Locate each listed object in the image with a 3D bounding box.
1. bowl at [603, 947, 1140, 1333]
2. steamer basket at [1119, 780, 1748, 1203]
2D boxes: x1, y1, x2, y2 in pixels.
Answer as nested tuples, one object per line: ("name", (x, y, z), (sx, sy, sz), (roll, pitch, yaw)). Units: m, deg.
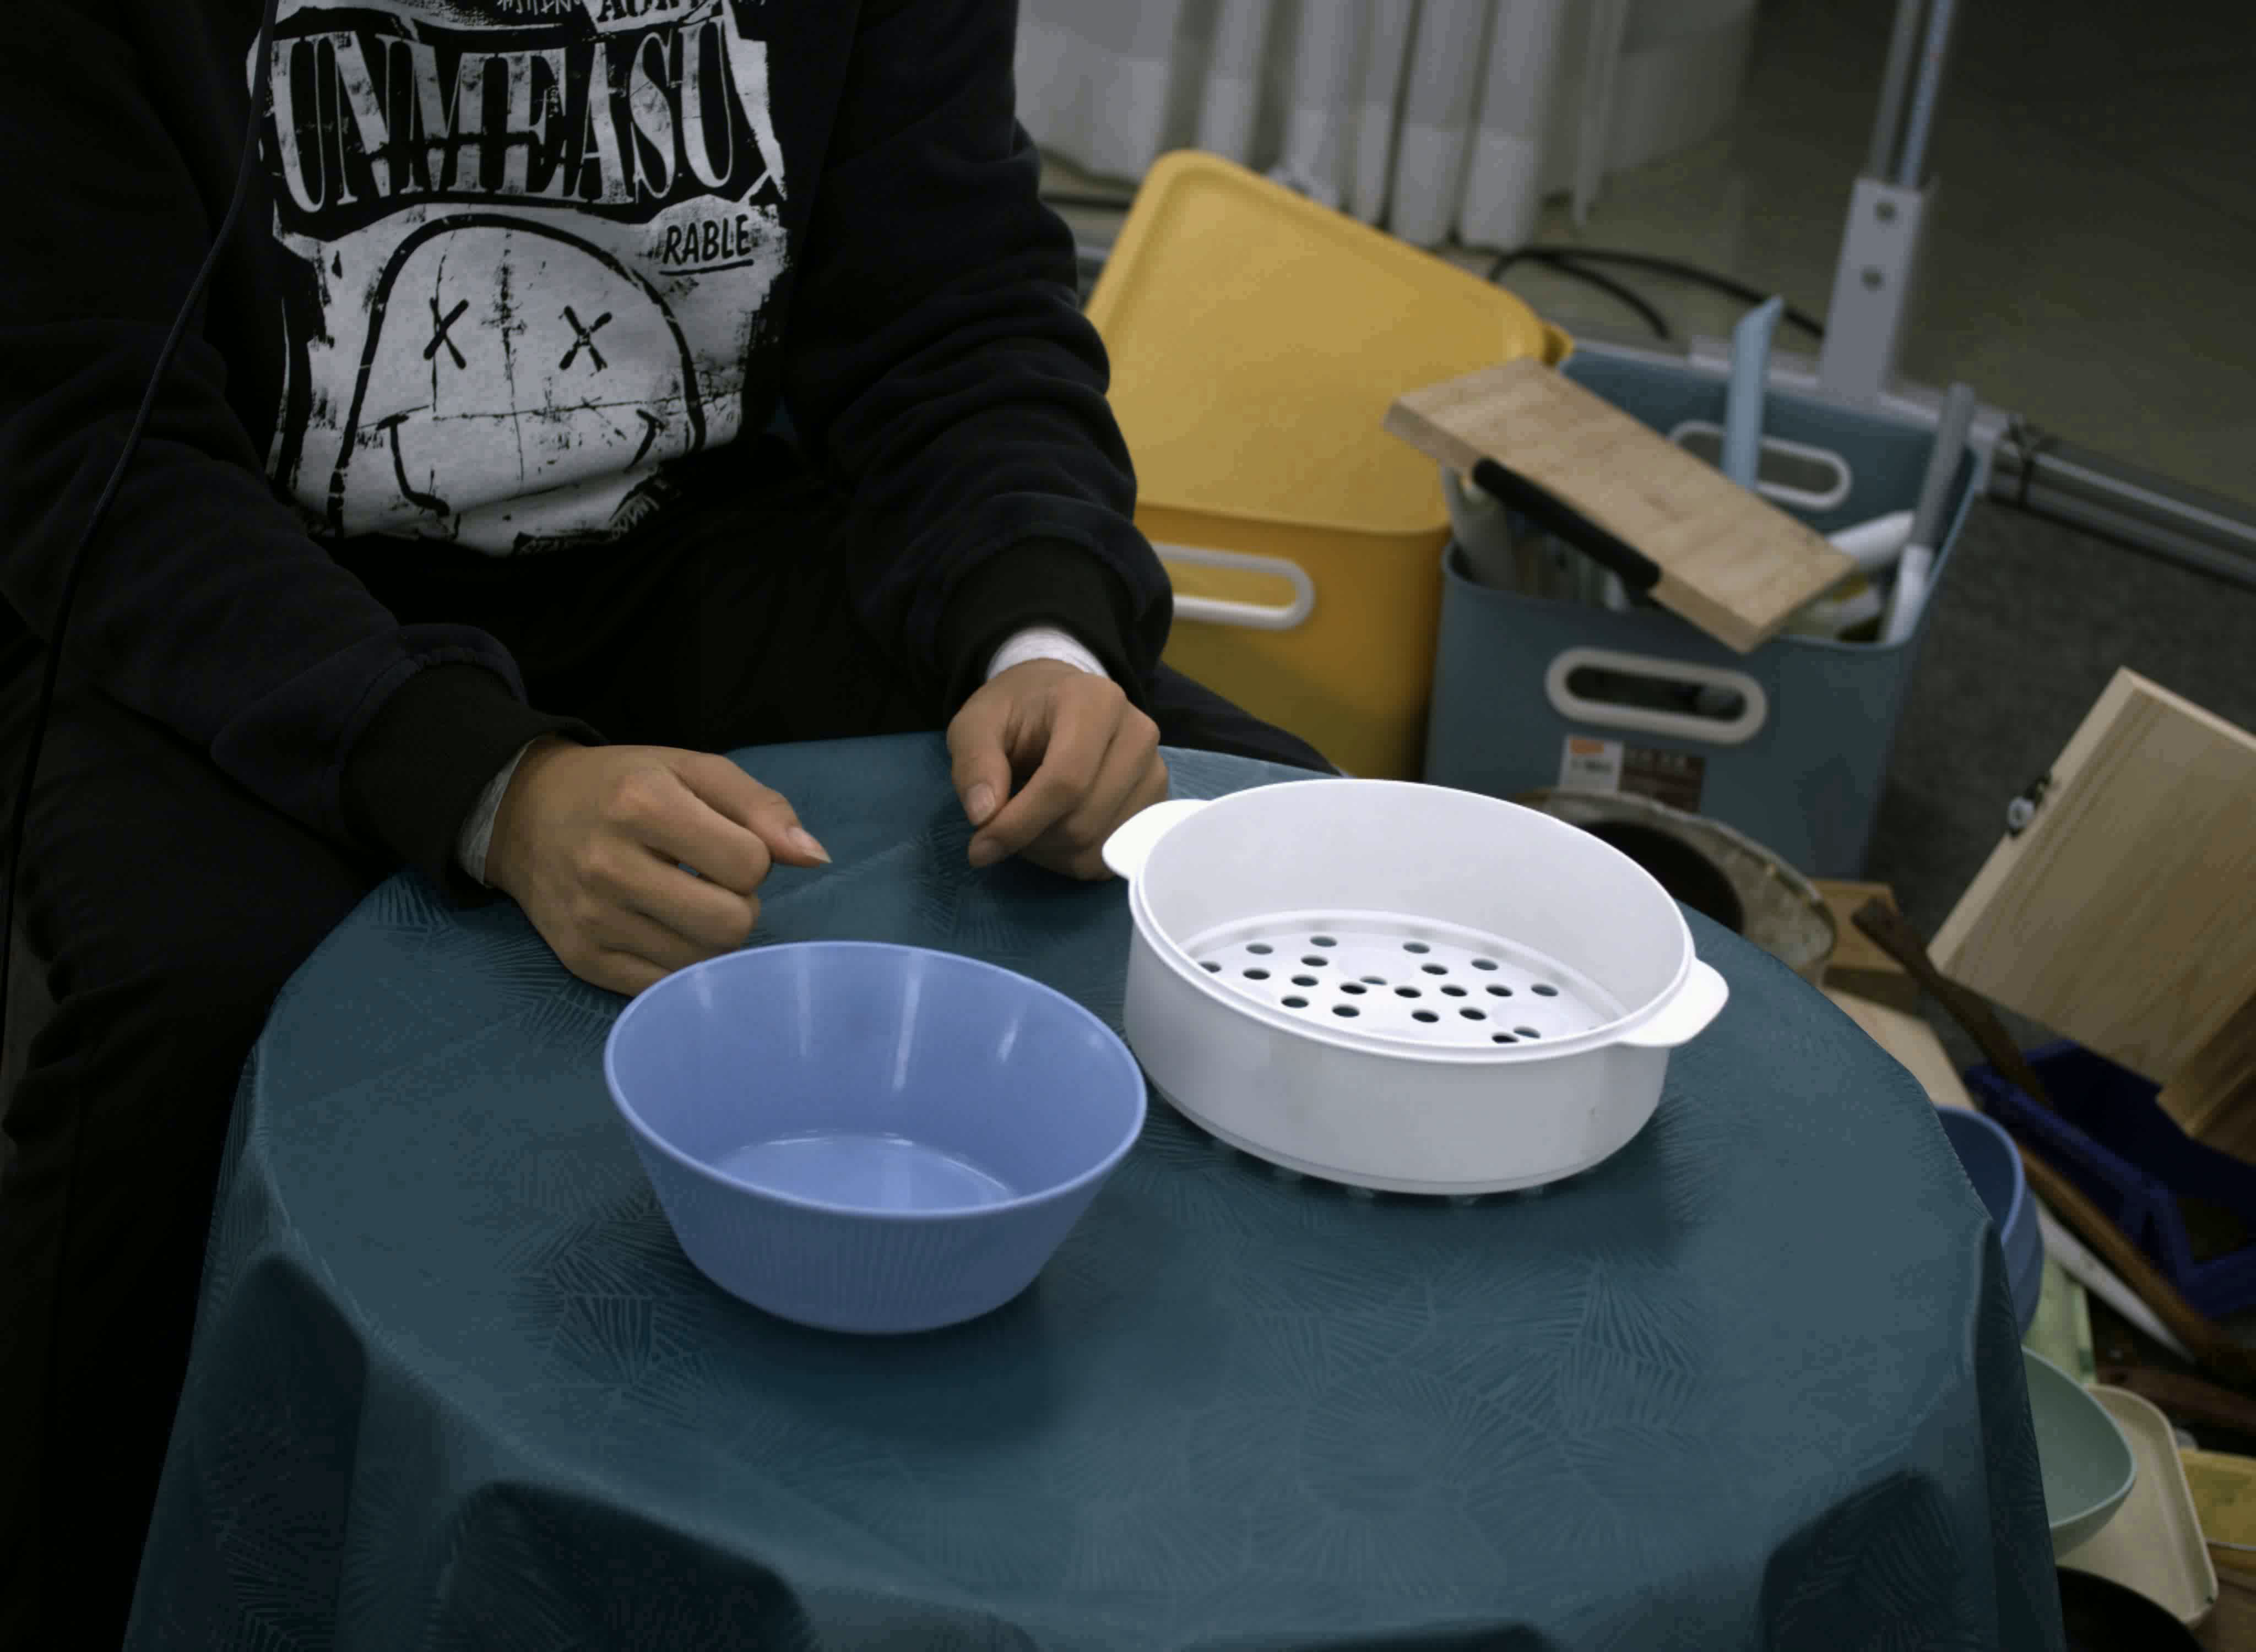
("bowl", (-0.086, 0.108, 1.733), (0.175, 0.070, 0.177), (6, 26, -3))
("steamer basket", (0.102, 0.059, 1.876), (0.231, 0.069, 0.201), (20, 29, 20))
